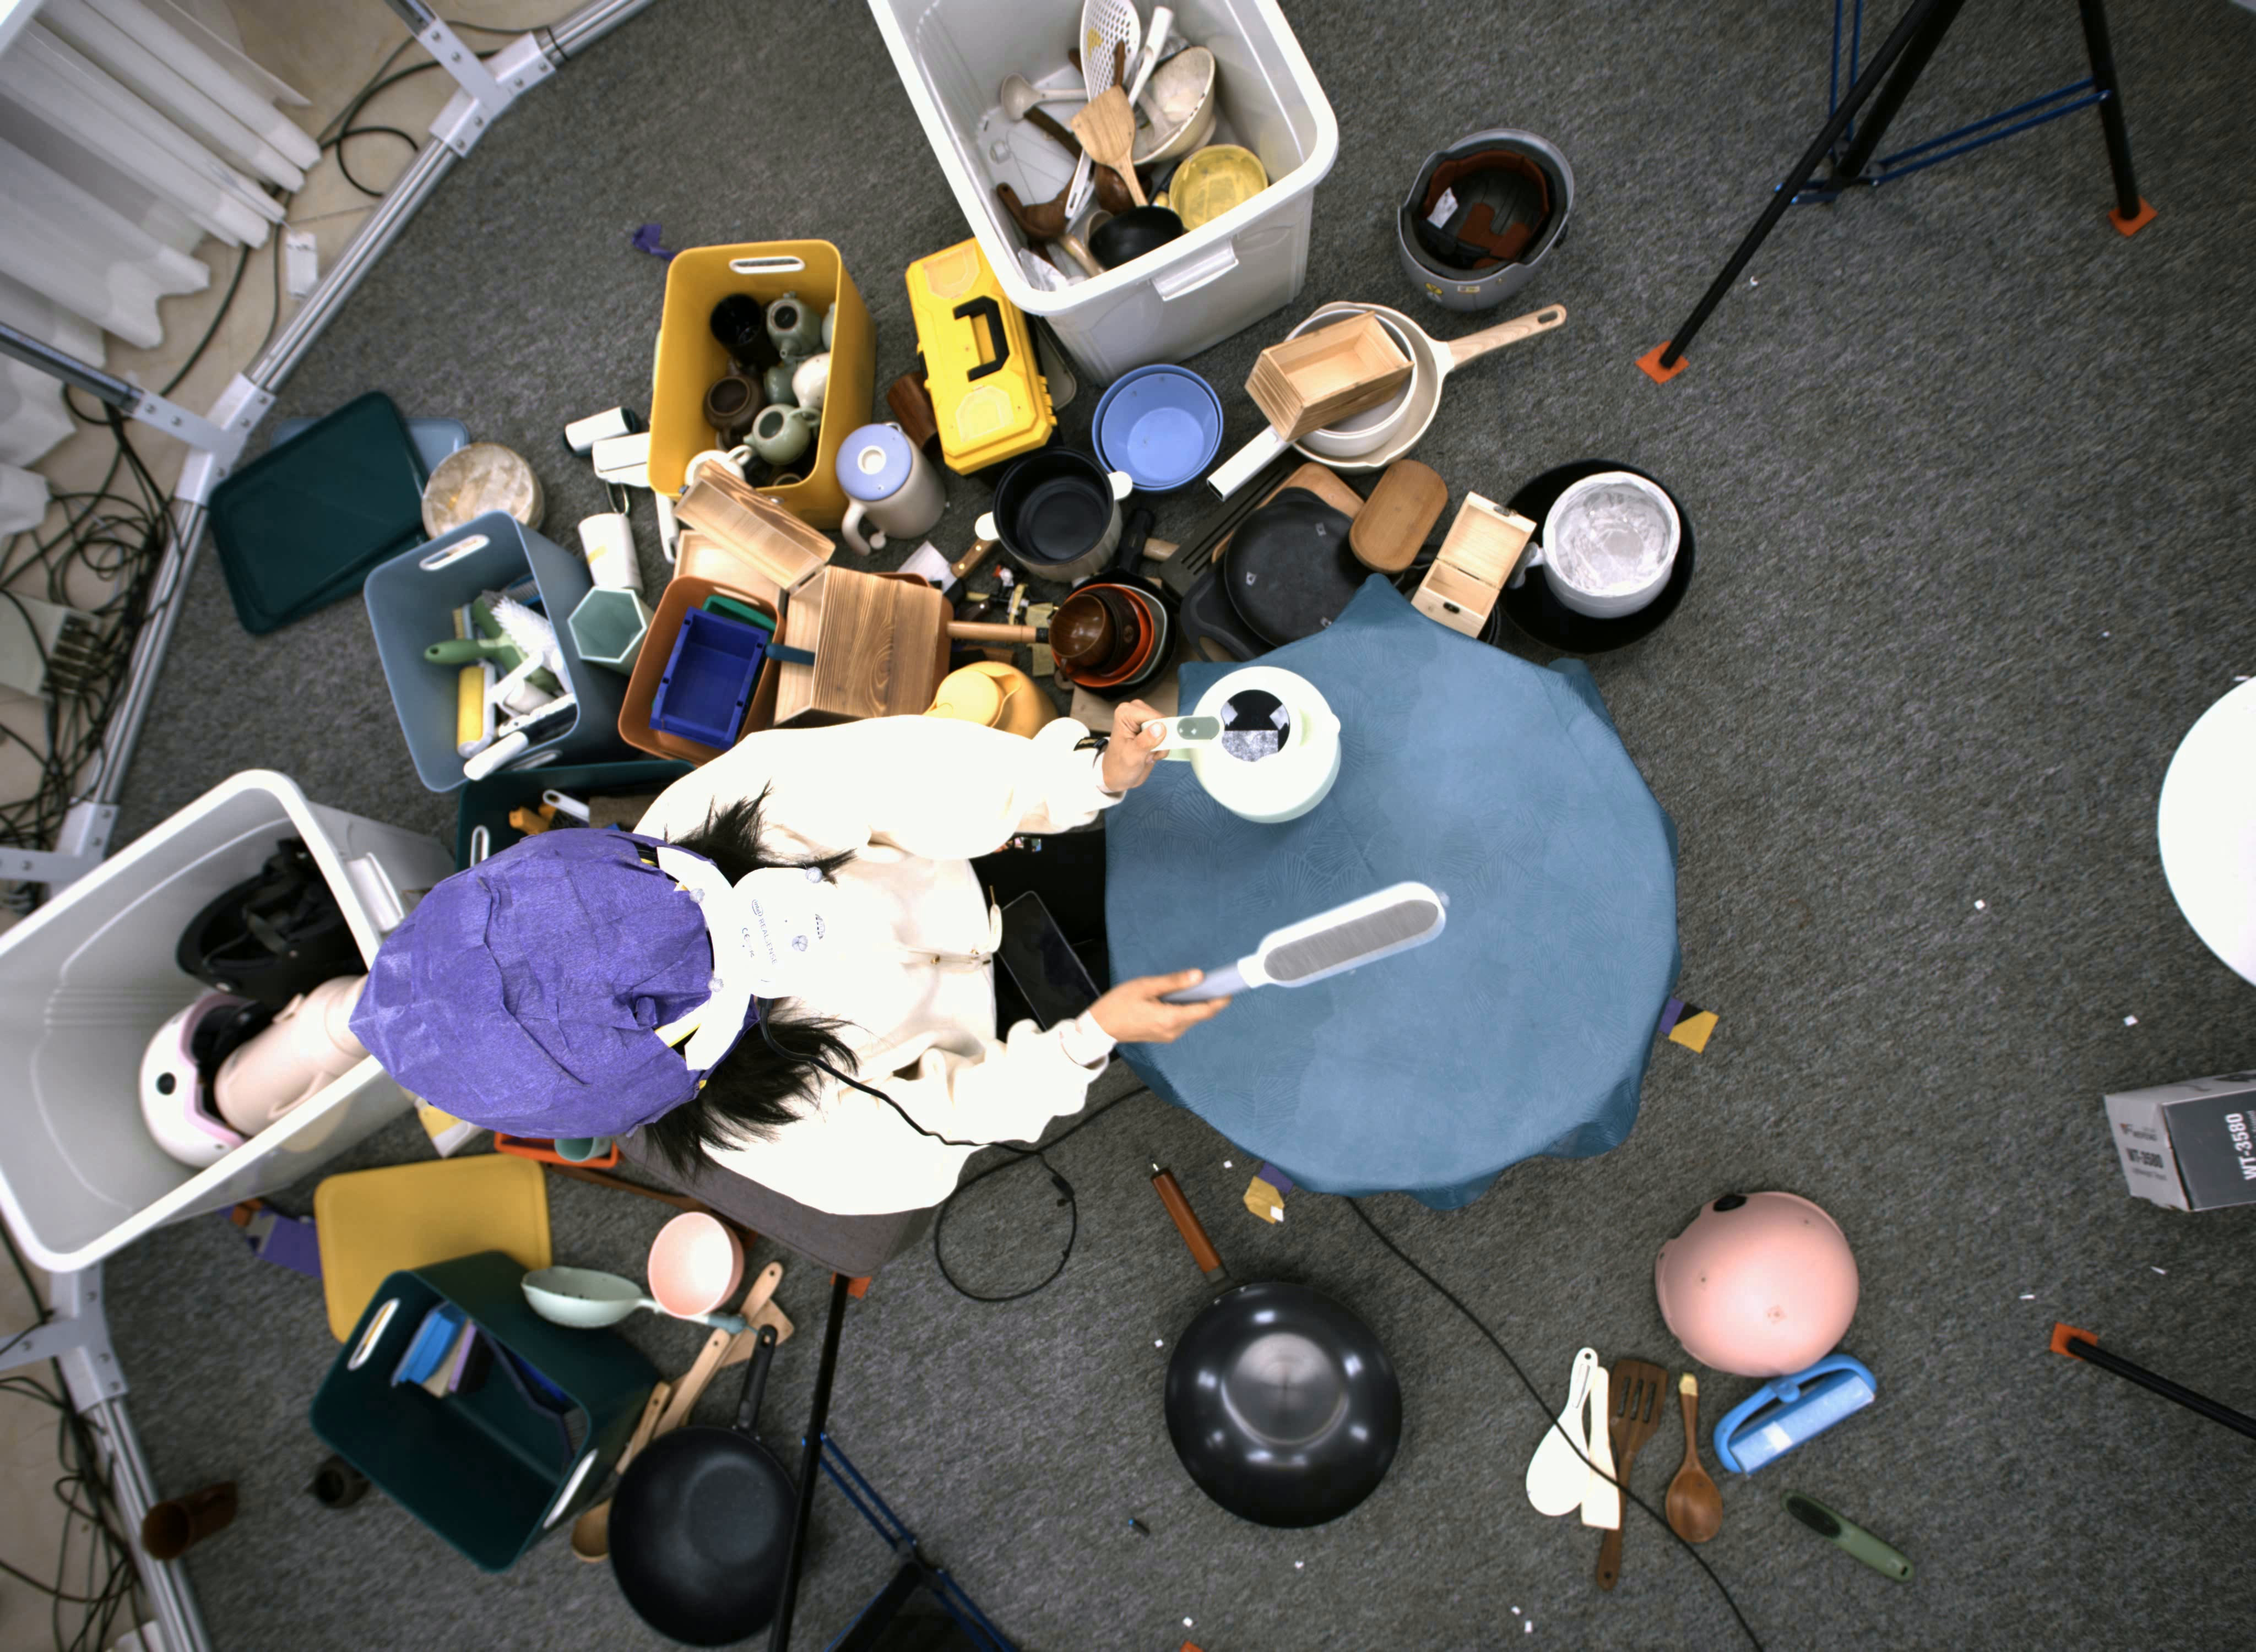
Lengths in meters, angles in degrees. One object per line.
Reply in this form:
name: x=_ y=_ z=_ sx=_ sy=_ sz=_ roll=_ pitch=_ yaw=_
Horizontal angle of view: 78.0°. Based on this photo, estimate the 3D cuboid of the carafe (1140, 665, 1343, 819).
carafe: x=0.112 y=-0.081 z=1.303 sx=0.187 sy=0.256 sz=0.144 roll=-1 pitch=89 yaw=13

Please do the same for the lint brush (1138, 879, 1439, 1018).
lint brush: x=0.144 y=0.119 z=1.298 sx=0.313 sy=0.020 sz=0.061 roll=-24 pitch=120 yaw=22
